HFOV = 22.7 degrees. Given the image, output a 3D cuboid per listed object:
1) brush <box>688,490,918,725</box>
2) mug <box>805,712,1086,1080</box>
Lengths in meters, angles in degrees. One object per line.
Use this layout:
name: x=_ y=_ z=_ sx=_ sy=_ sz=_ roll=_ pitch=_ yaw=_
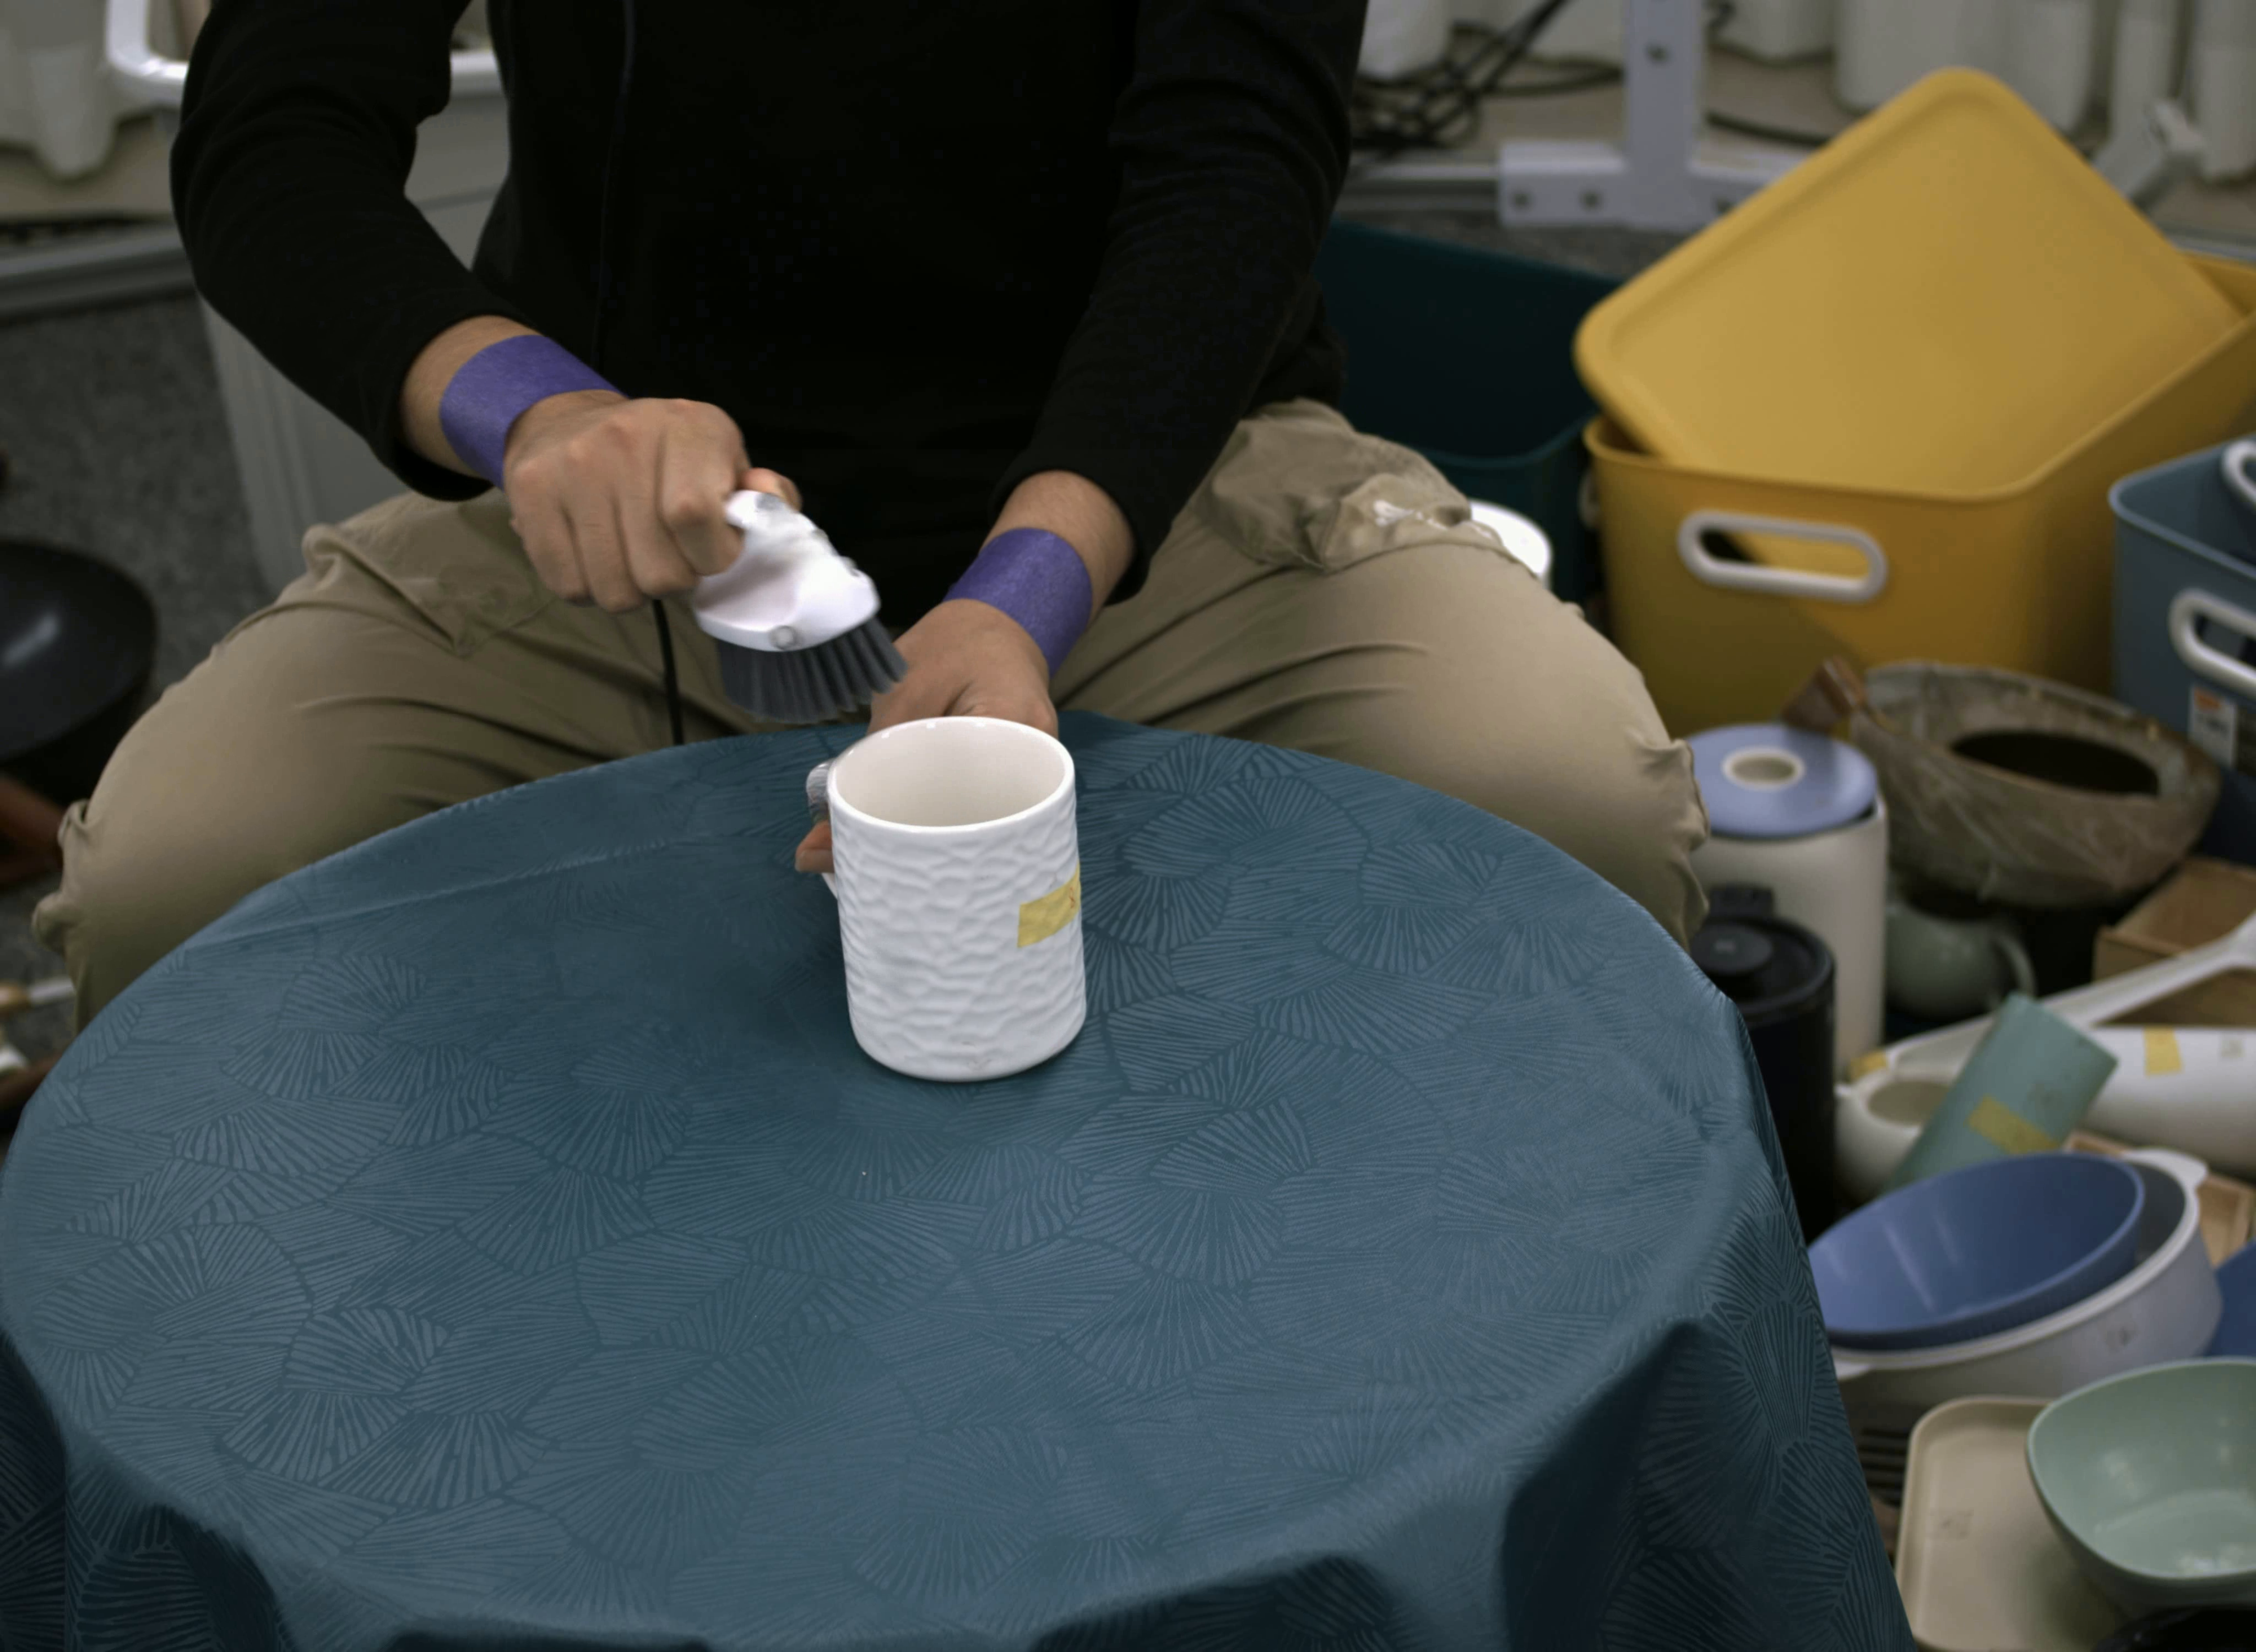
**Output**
brush: x=-0.119 y=-0.080 z=1.949 sx=0.051 sy=0.072 sz=0.099 roll=-26 pitch=22 yaw=-27
mug: x=-0.069 y=0.020 z=1.953 sx=0.086 sy=0.101 sz=0.118 roll=-25 pitch=34 yaw=-36
